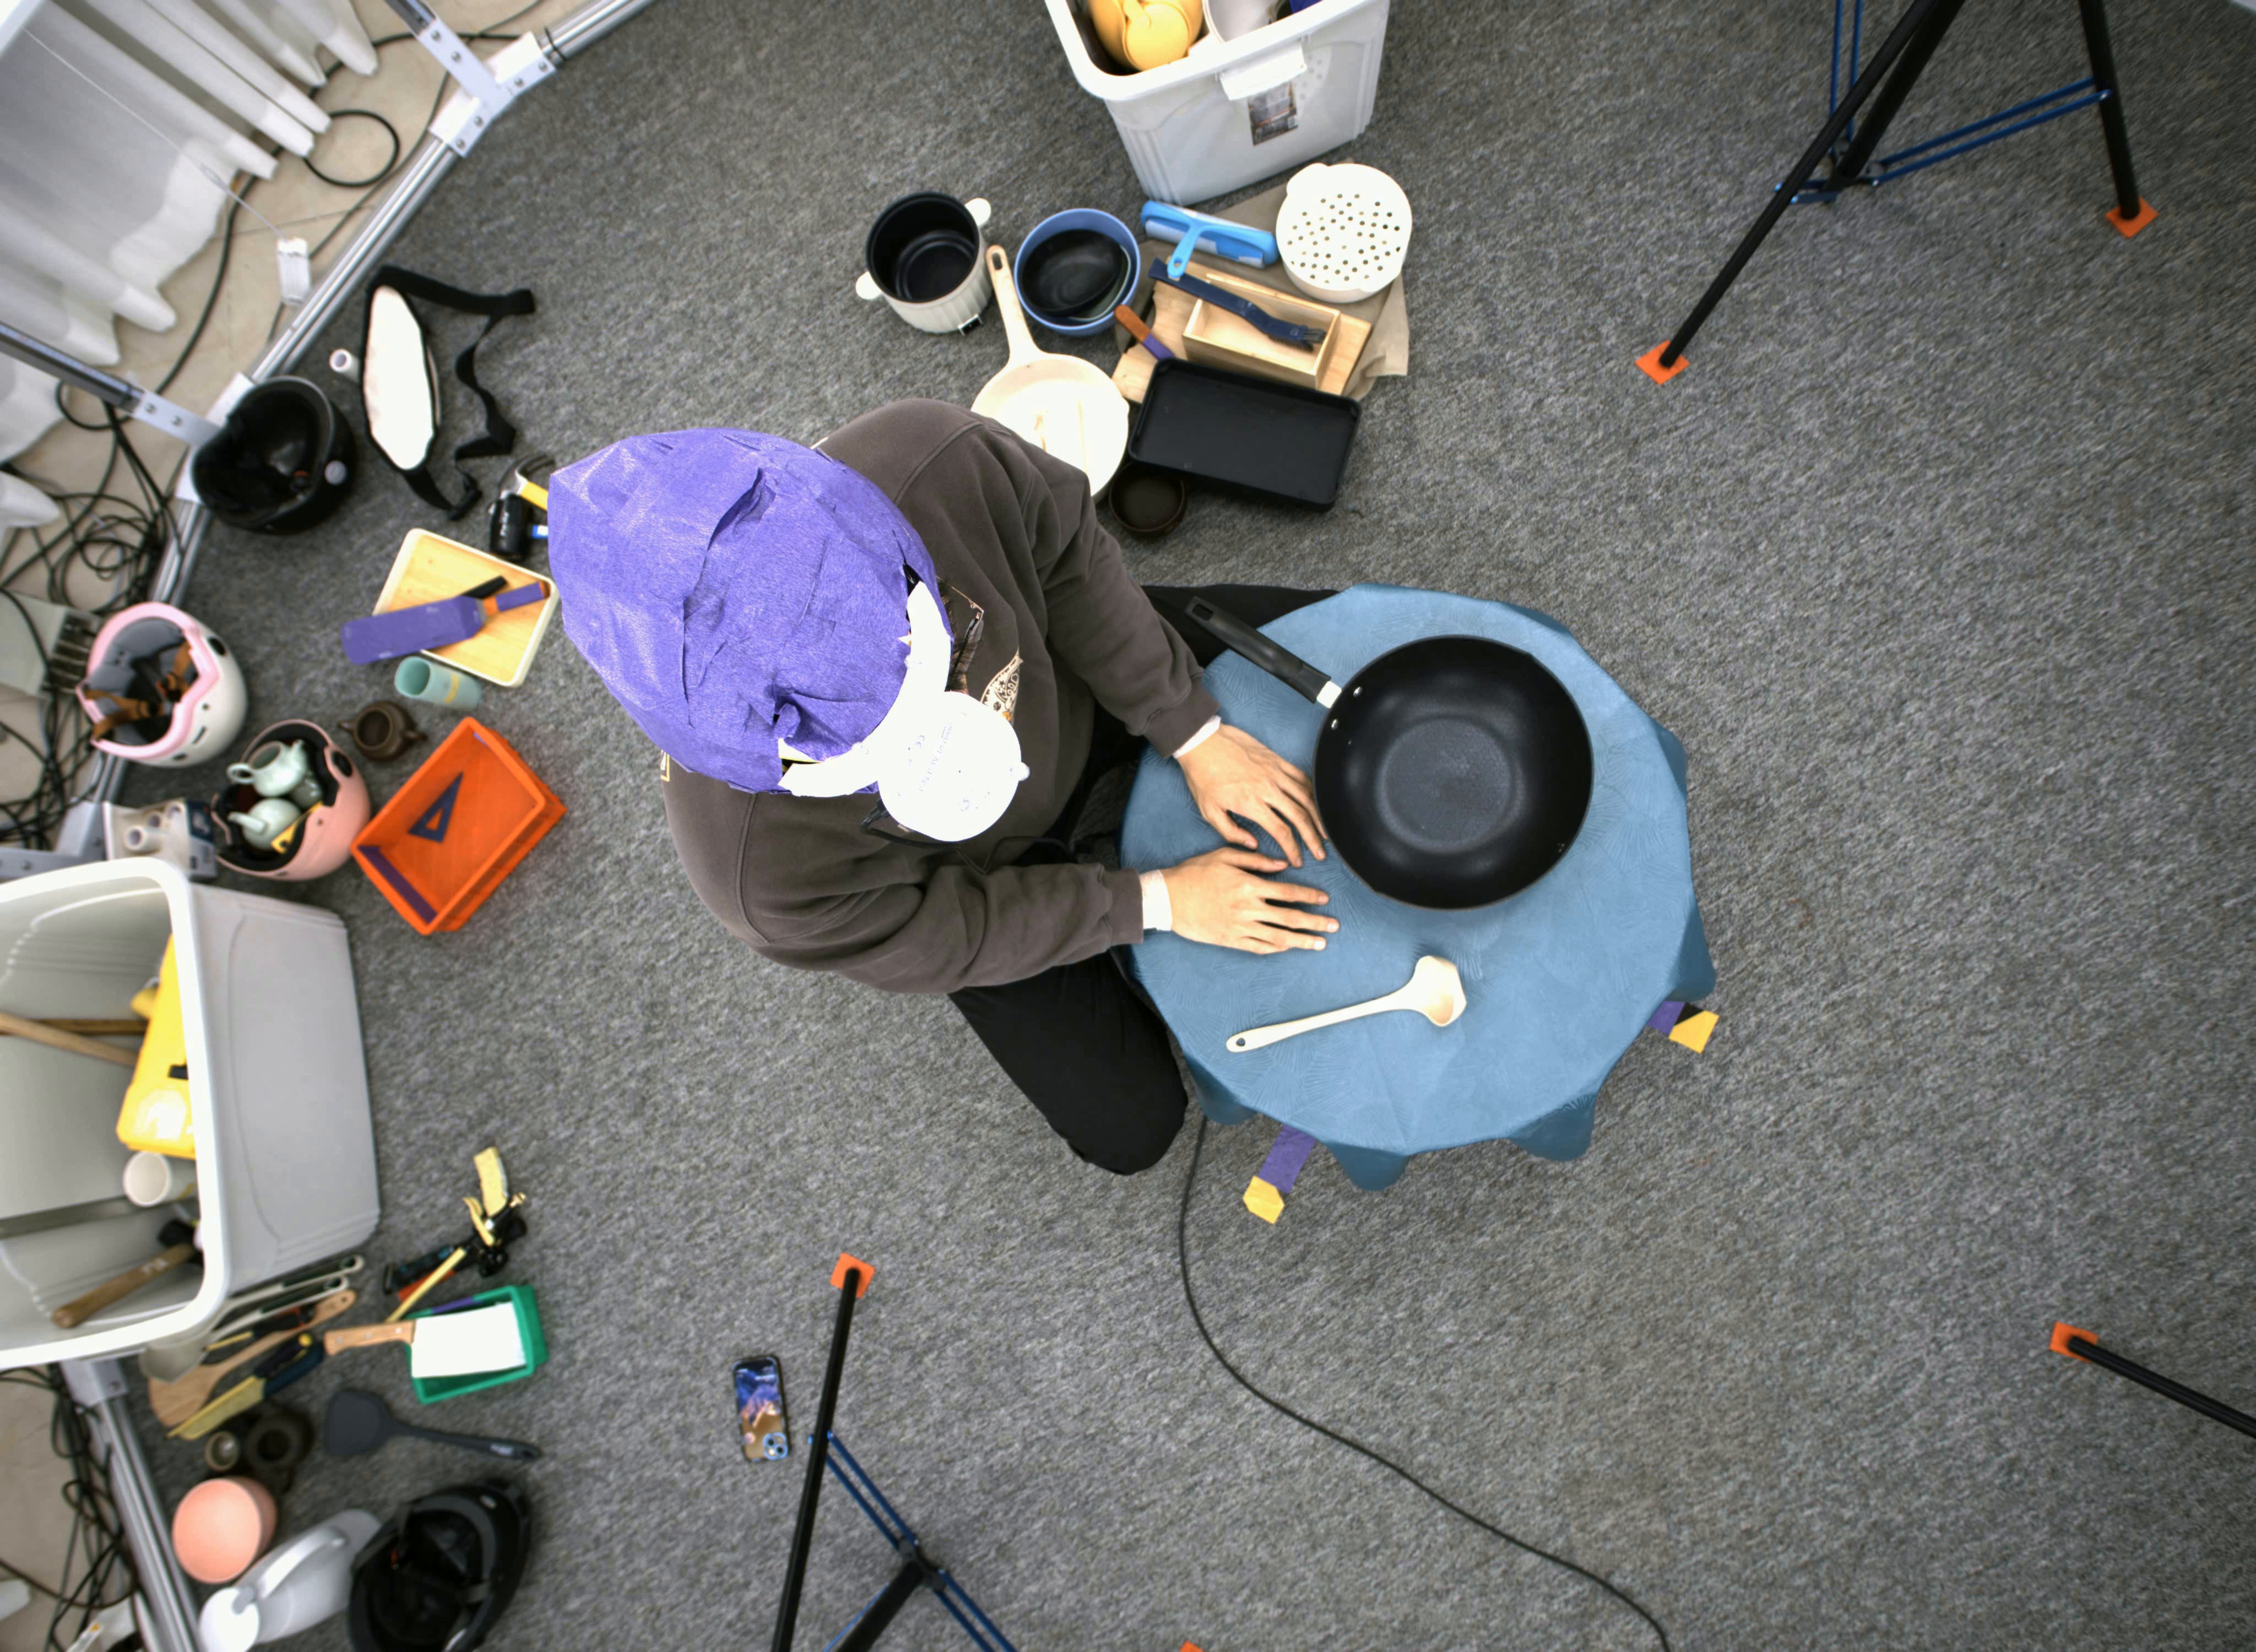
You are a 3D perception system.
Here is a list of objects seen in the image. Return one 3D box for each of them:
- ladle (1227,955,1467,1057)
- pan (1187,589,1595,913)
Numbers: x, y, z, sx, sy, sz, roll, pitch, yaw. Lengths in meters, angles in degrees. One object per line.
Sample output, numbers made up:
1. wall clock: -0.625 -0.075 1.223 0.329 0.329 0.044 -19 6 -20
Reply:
1. ladle: 0.220 0.197 1.424 0.256 0.073 0.072 -18 85 8
2. pan: 0.255 -0.102 1.427 0.462 0.087 0.289 35 94 11
